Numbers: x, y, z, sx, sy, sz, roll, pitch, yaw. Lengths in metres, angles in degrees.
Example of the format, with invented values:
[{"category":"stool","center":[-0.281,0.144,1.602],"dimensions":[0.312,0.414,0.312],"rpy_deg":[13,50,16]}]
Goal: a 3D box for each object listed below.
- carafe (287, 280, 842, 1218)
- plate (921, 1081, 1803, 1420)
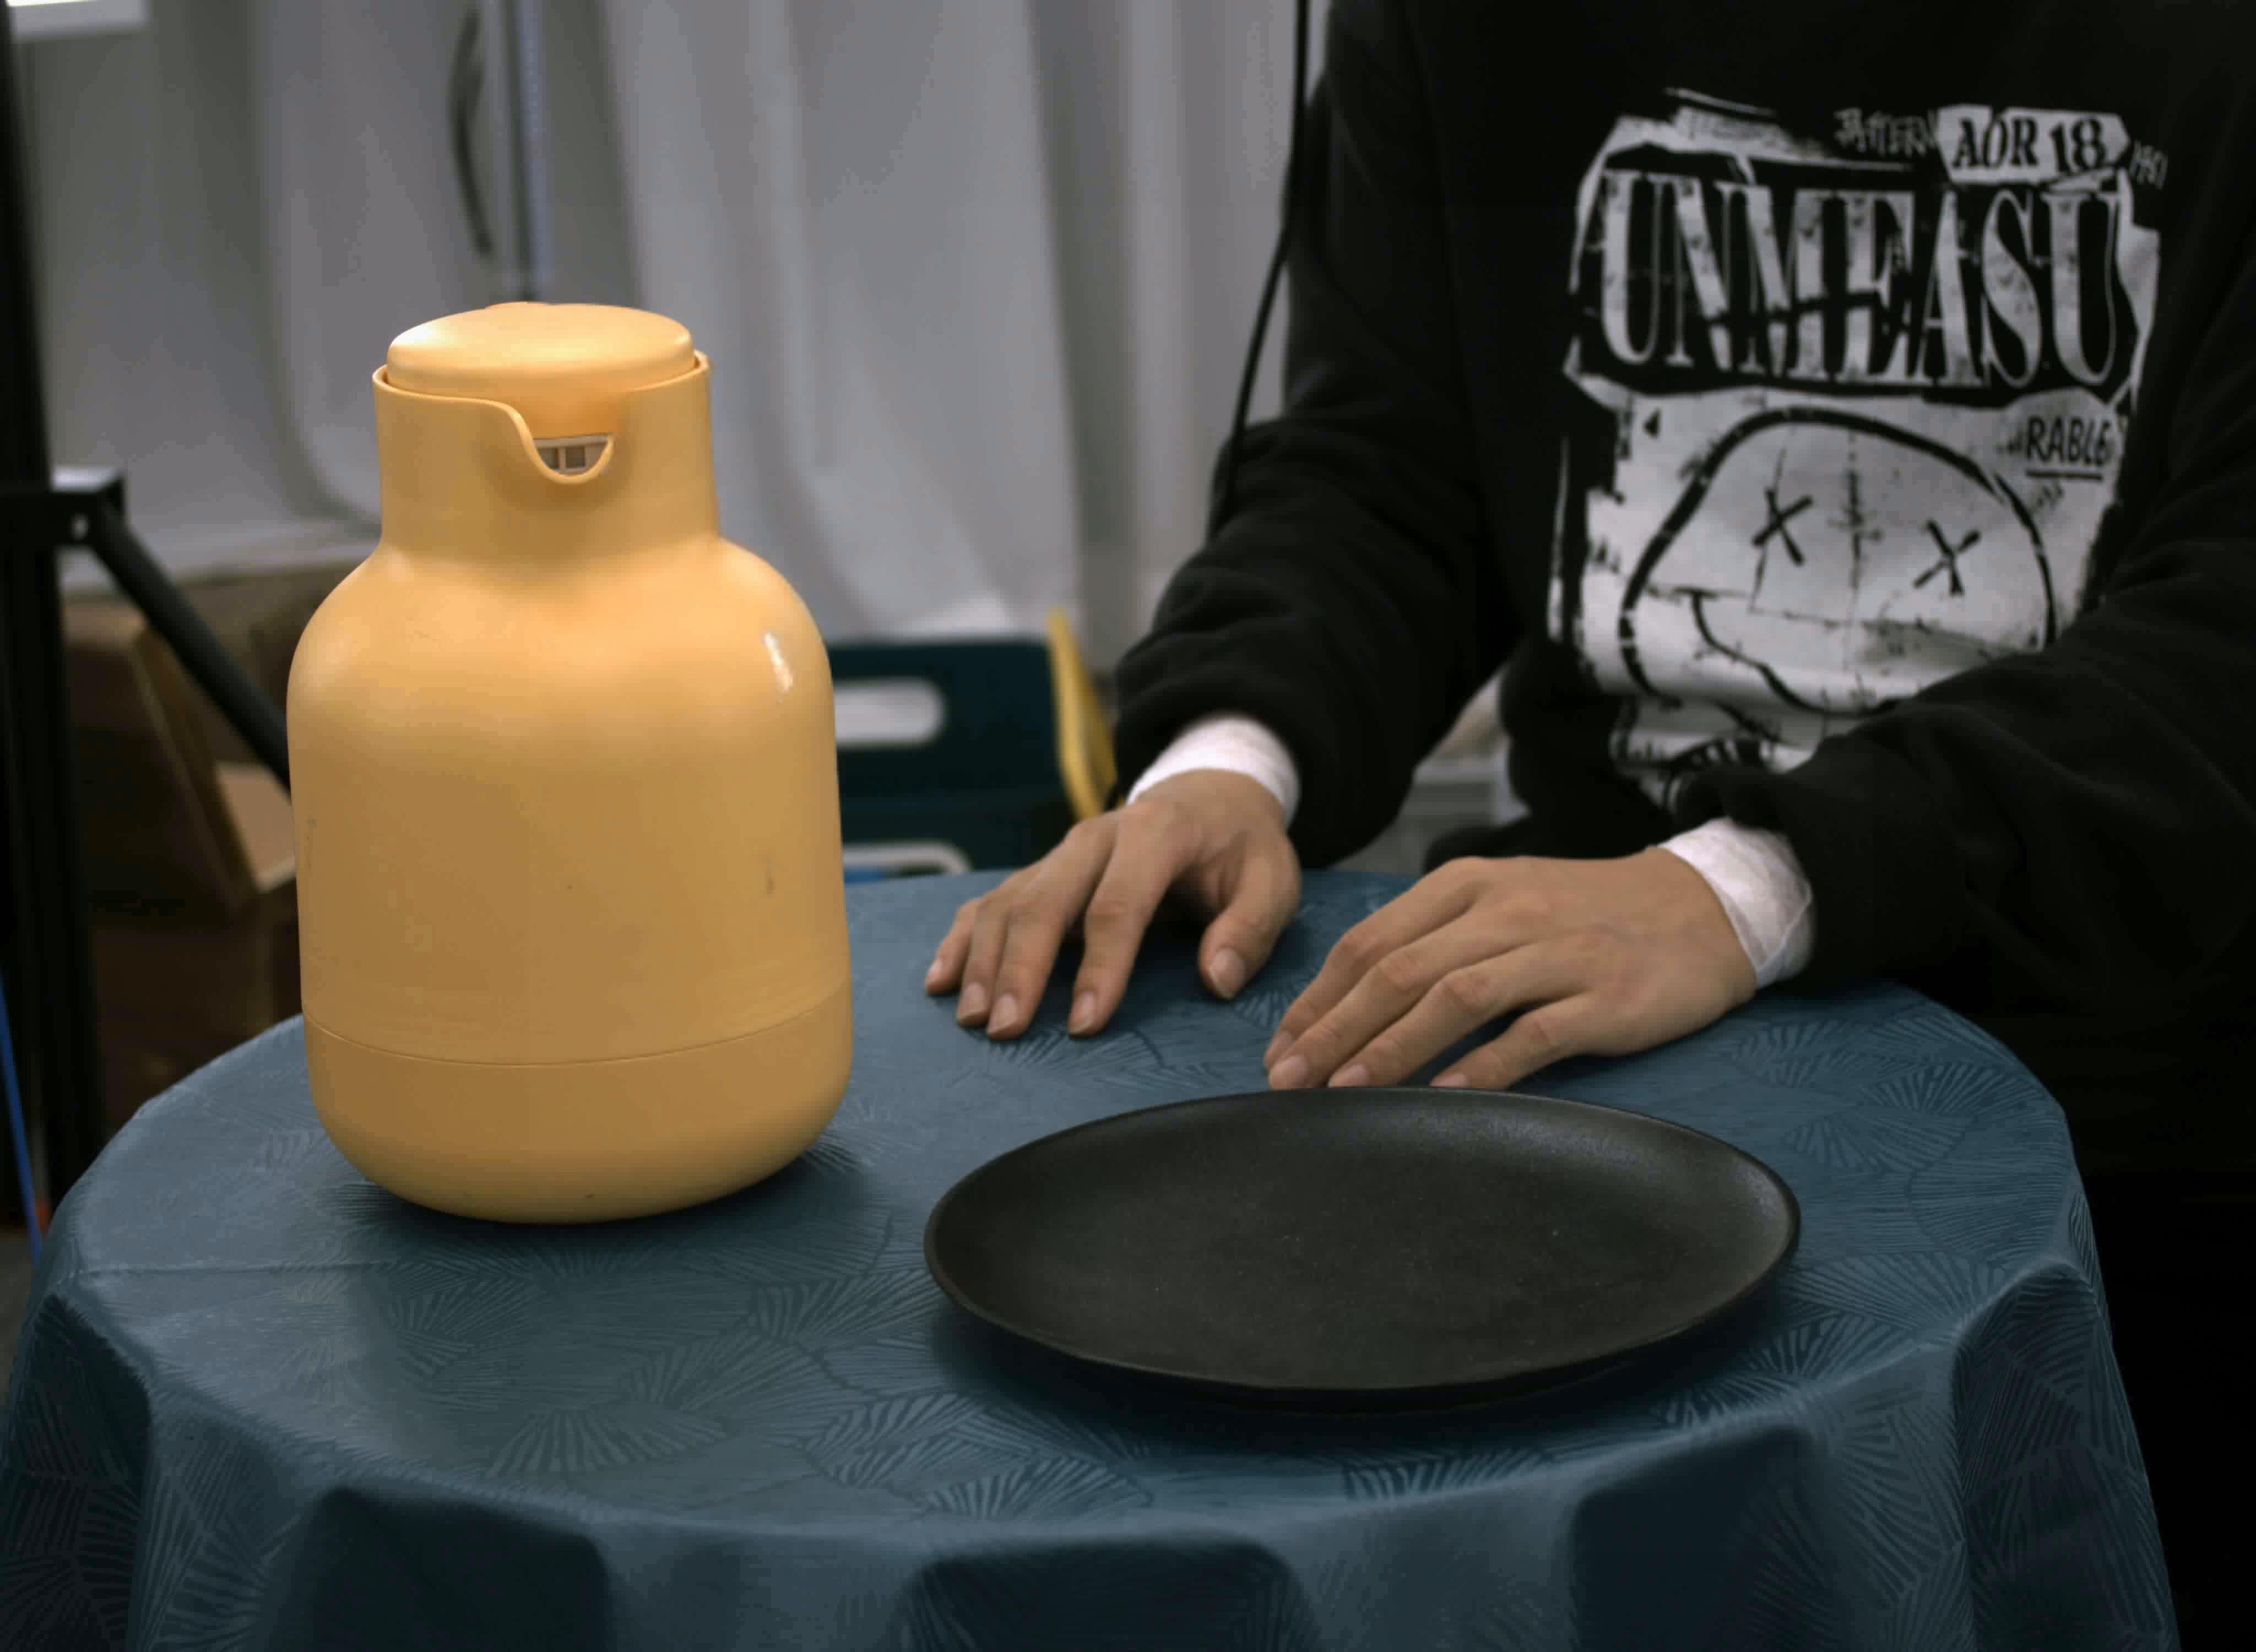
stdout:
[{"category":"carafe","center":[-0.168,-0.031,1.590],"dimensions":[0.161,0.260,0.204],"rpy_deg":[-1,17,-8]},{"category":"plate","center":[0.064,0.119,1.460],"dimensions":[0.243,0.023,0.245],"rpy_deg":[-3,16,-1]}]
